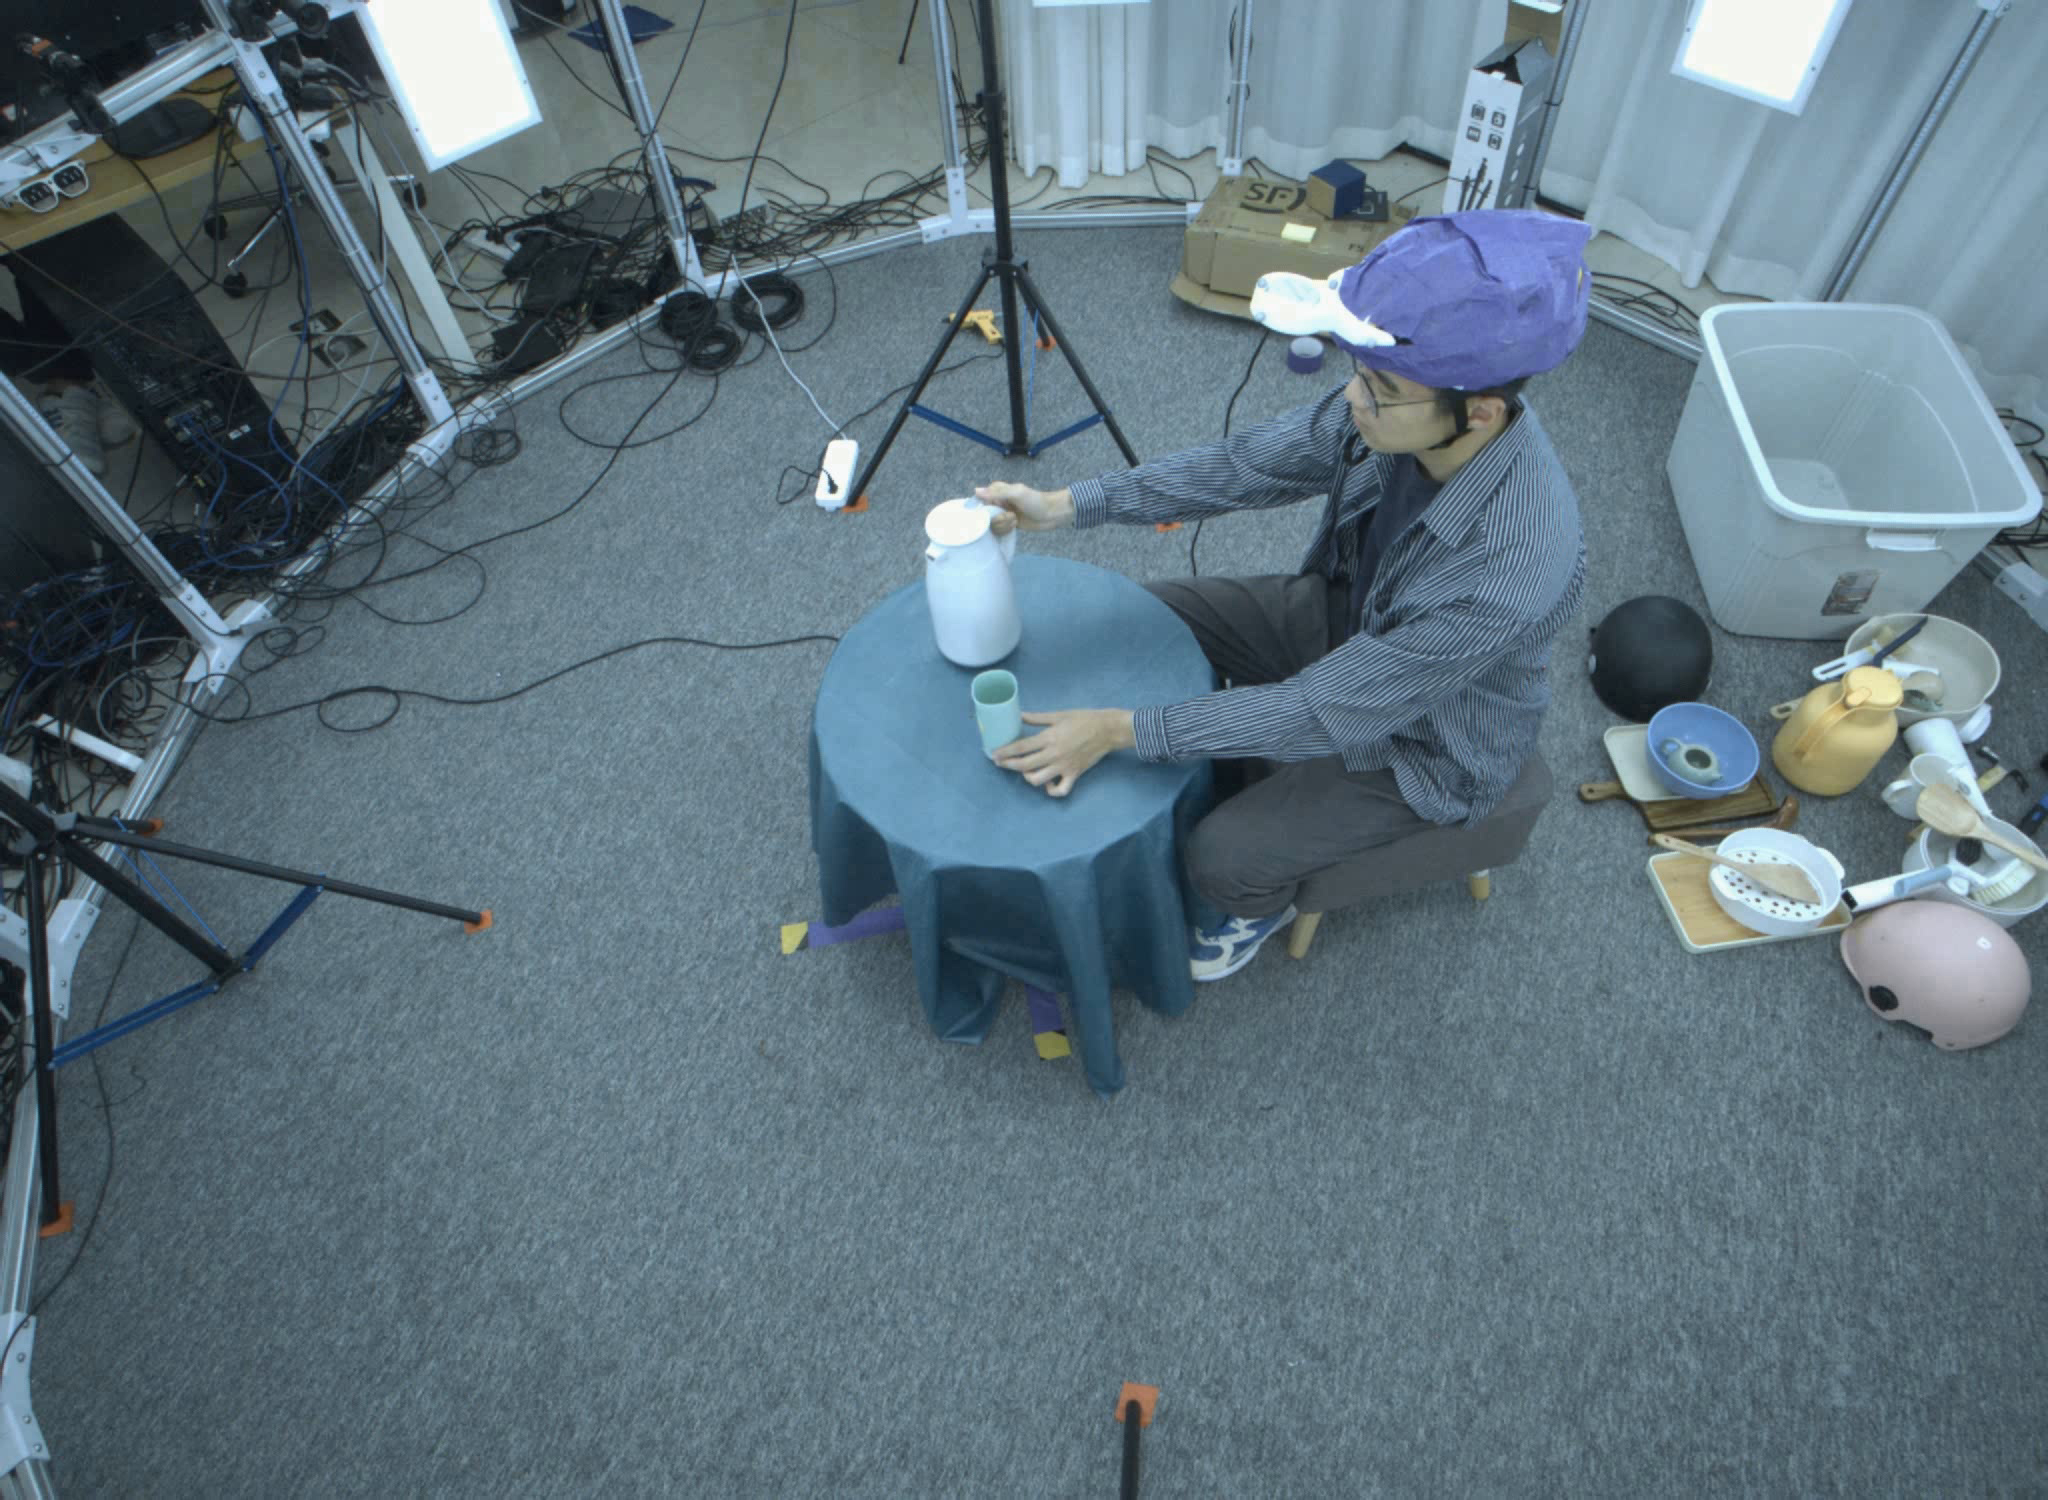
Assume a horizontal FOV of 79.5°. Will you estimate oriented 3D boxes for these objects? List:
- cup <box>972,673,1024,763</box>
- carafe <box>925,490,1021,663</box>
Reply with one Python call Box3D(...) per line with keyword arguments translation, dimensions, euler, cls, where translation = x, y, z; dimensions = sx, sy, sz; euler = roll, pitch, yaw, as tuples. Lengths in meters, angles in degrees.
Box3D(translation=(-0.034, -0.044, 1.739), dimensions=(0.066, 0.134, 0.066), euler=(-2, 54, 4), cls="cup")
Box3D(translation=(-0.072, -0.268, 1.801), dimensions=(0.130, 0.252, 0.168), euler=(27, 61, 23), cls="carafe")
